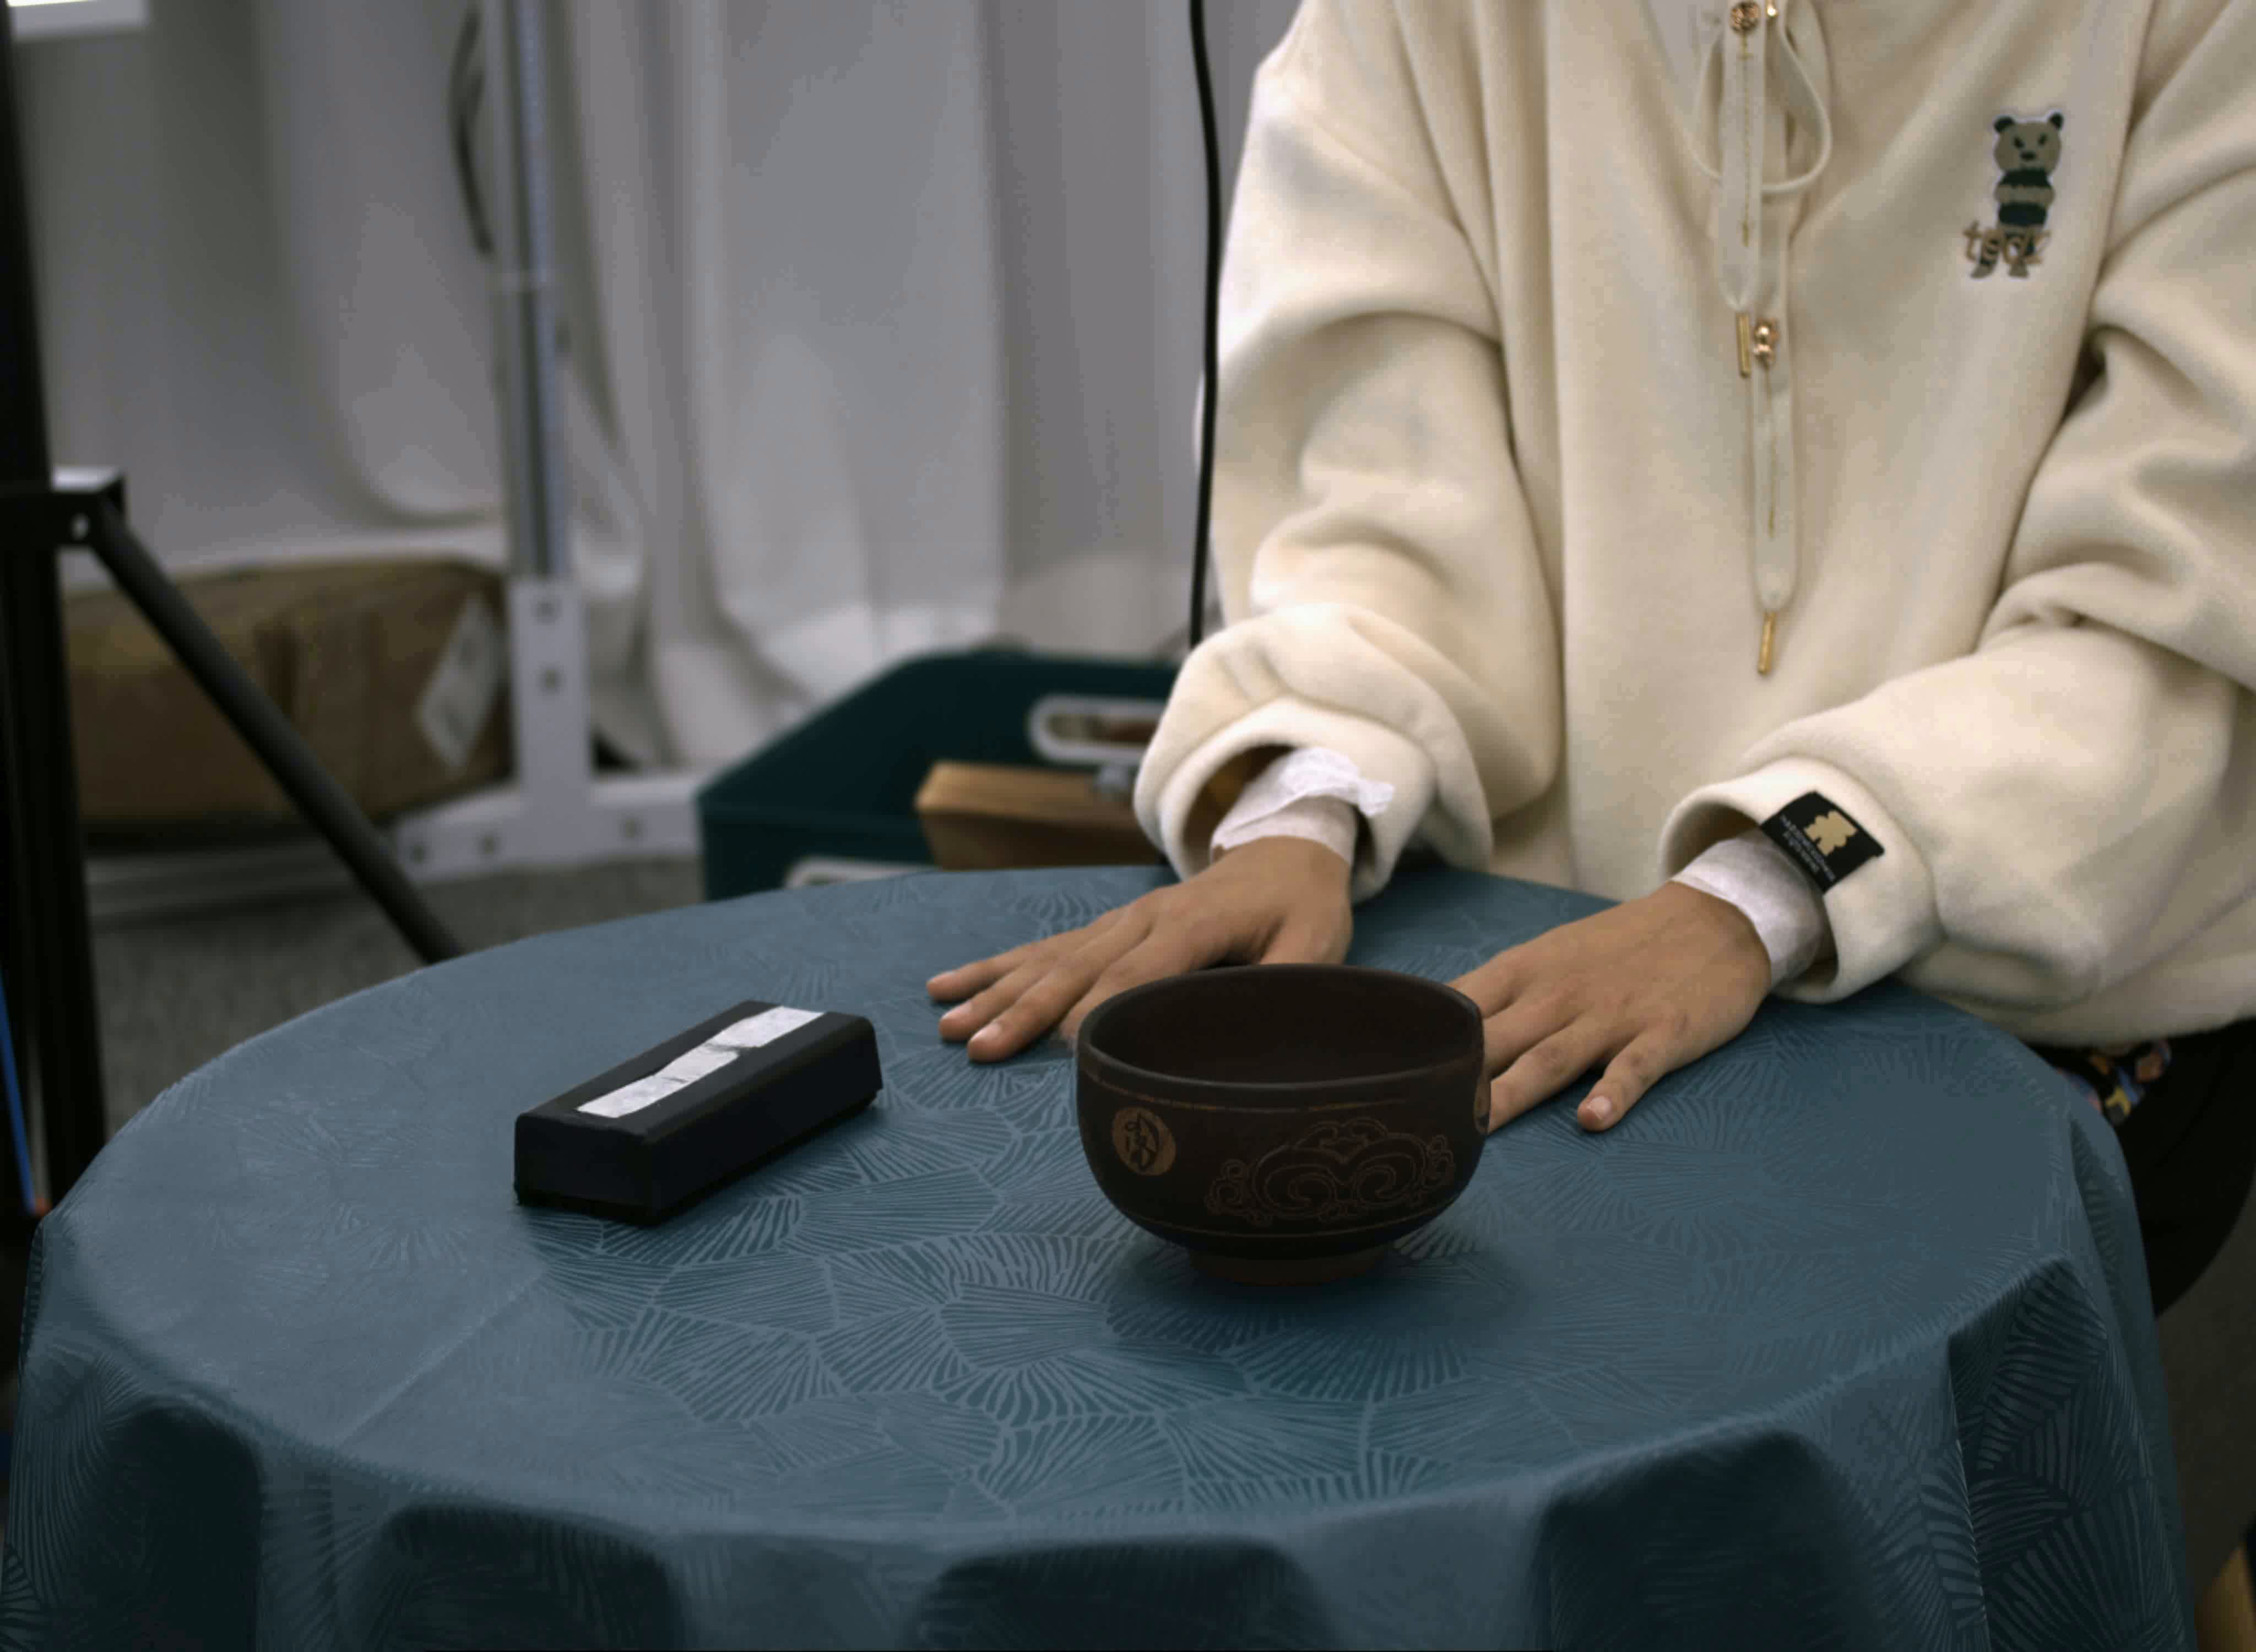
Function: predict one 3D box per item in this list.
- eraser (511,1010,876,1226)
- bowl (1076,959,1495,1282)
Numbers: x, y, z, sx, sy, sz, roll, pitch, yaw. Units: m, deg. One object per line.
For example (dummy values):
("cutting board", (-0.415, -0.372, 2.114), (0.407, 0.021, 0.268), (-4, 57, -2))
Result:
("eraser", (-0.129, 0.087, 1.605), (0.054, 0.030, 0.123), (8, 17, 29))
("bowl", (0.045, 0.087, 1.493), (0.117, 0.070, 0.118), (-3, 14, -1))
